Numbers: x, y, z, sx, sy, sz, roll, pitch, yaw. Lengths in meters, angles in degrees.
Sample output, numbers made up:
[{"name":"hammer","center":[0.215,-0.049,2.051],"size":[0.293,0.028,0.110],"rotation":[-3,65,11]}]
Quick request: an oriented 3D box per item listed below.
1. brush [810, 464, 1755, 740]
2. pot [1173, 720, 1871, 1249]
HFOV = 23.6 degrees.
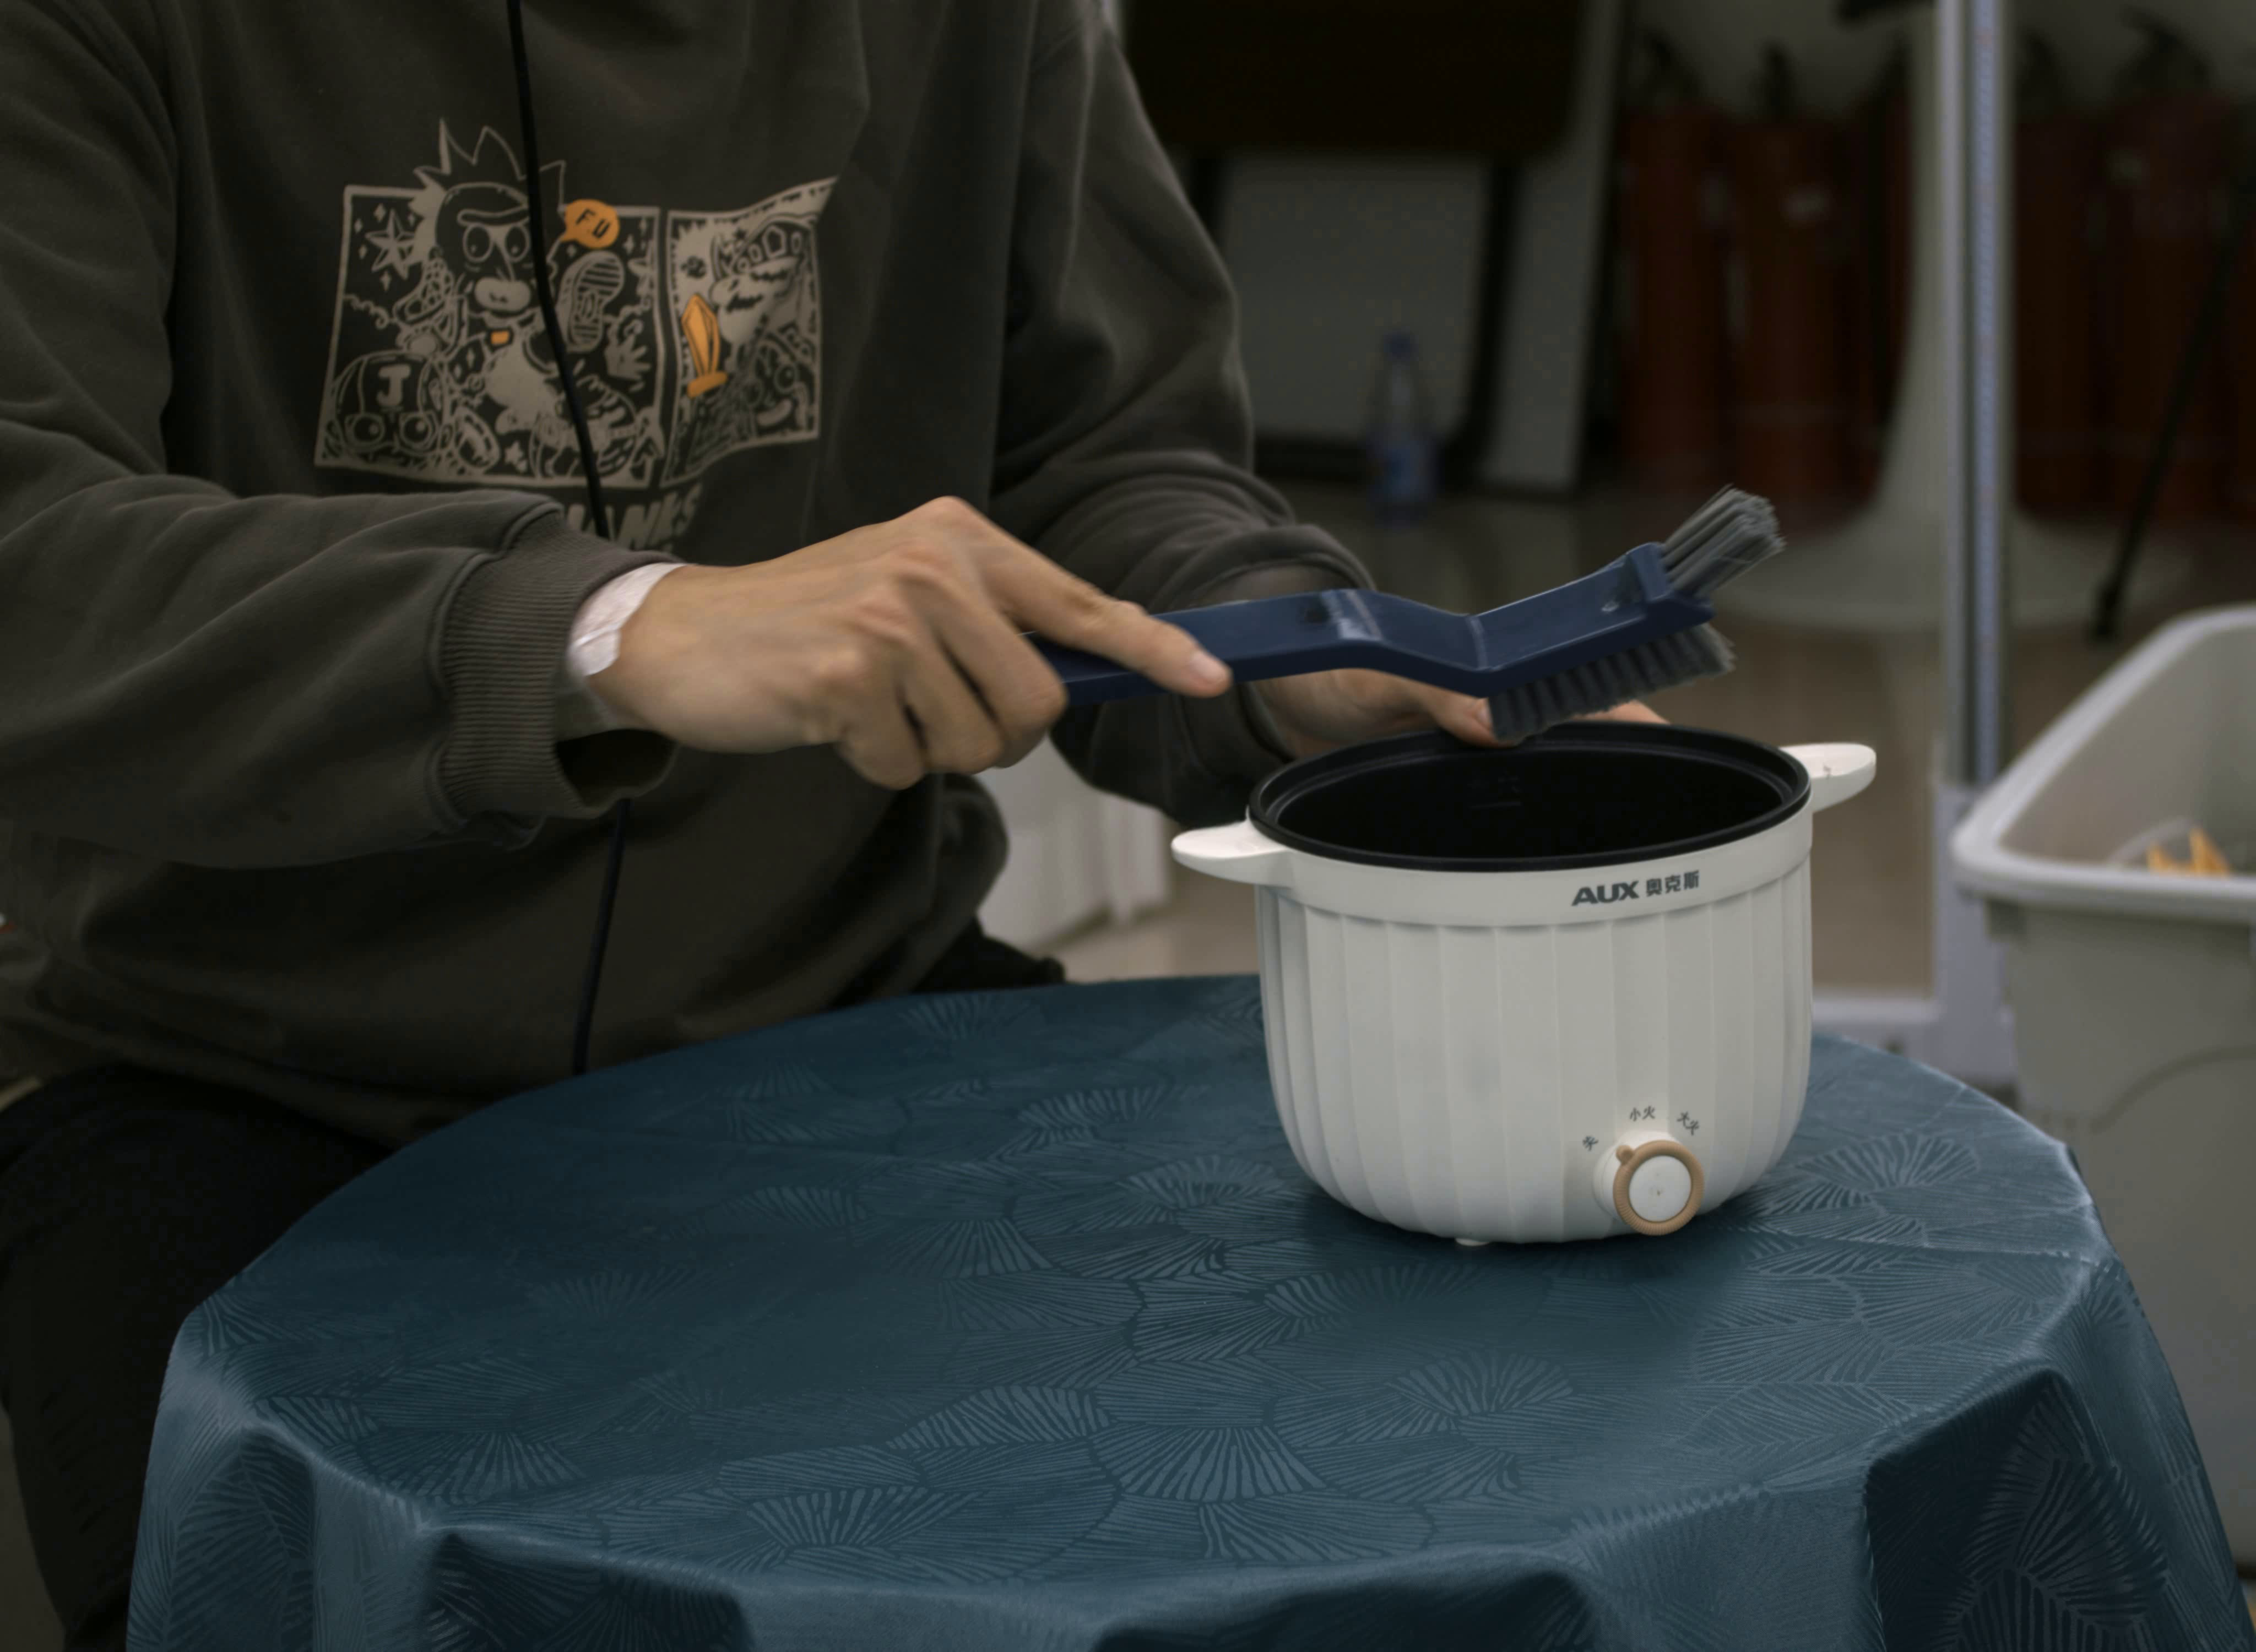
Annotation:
[{"name":"brush","center":[0.043,-0.063,1.576],"size":[0.268,0.096,0.034],"rotation":[-2,47,-8]},{"name":"pot","center":[0.134,0.052,1.724],"size":[0.236,0.144,0.192],"rotation":[-9,11,-15]}]
